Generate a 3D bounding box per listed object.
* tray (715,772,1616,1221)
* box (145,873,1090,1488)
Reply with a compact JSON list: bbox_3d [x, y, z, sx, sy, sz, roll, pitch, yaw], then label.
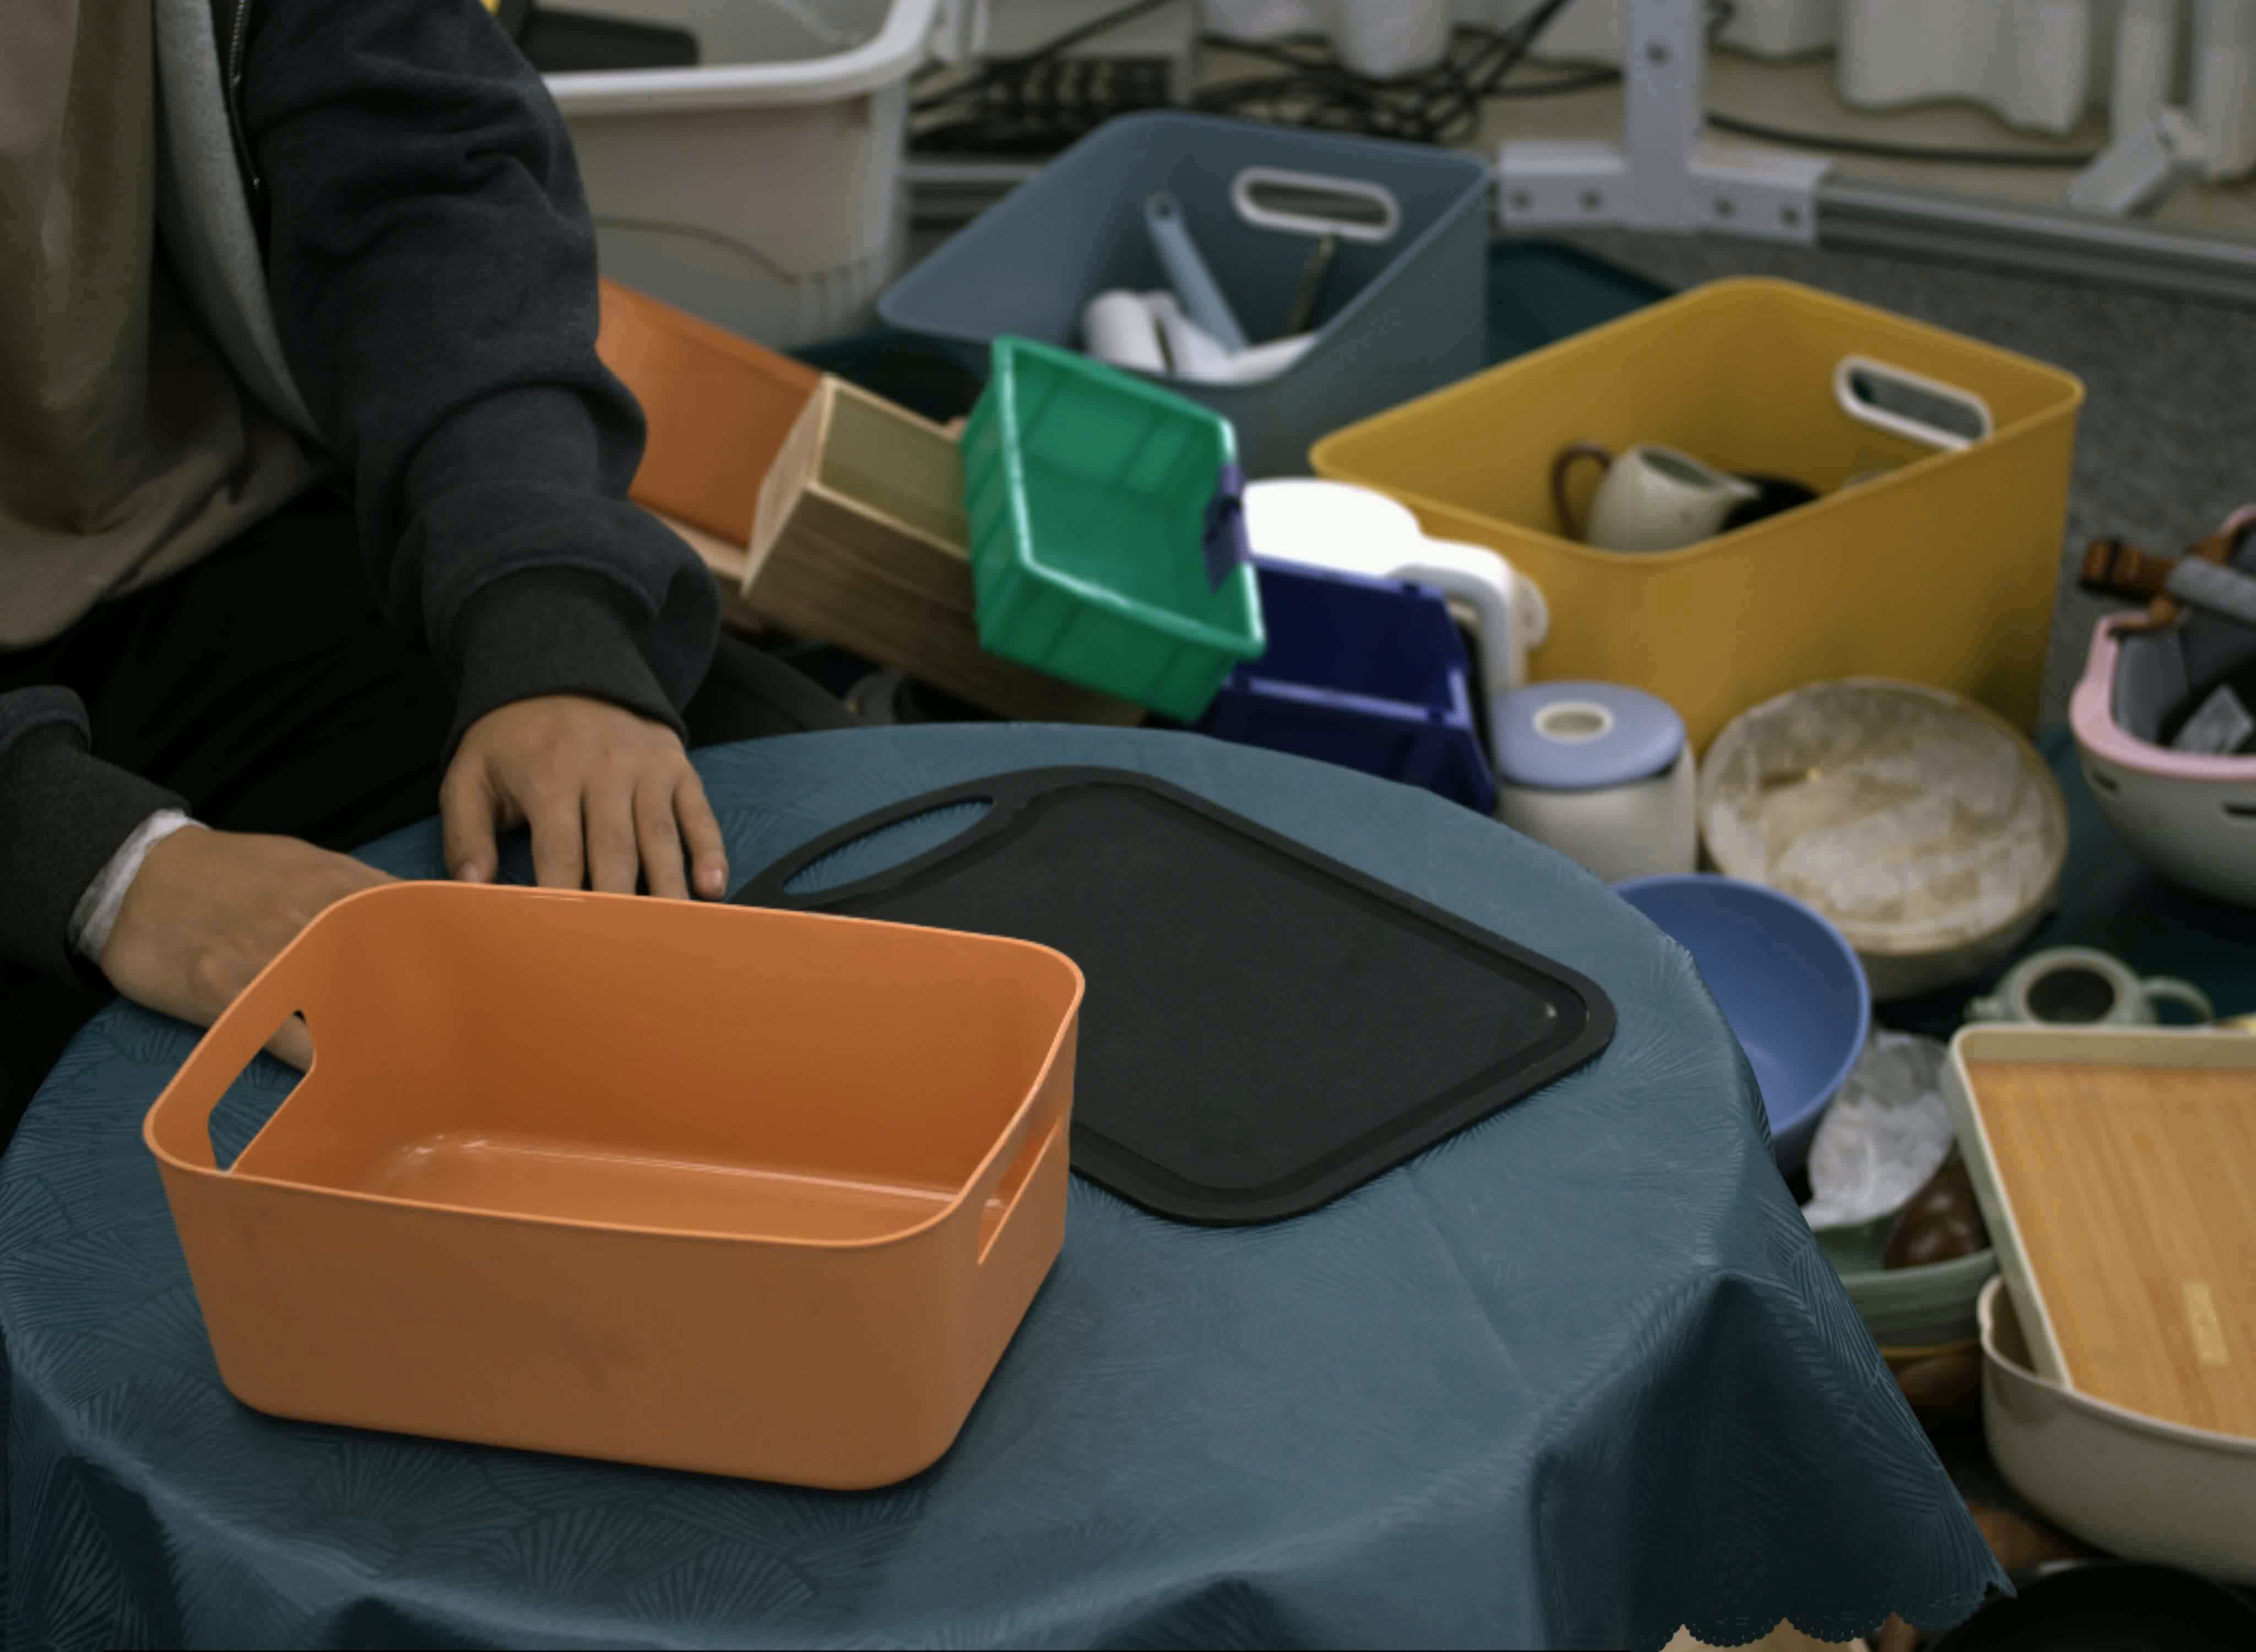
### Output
[{"bbox_3d":[0.002,0.052,1.990,0.213,0.009,0.325,-24,34,-36],"label":"tray"},{"bbox_3d":[-0.155,0.112,1.783,0.271,0.101,0.203,5,29,15],"label":"box"}]
